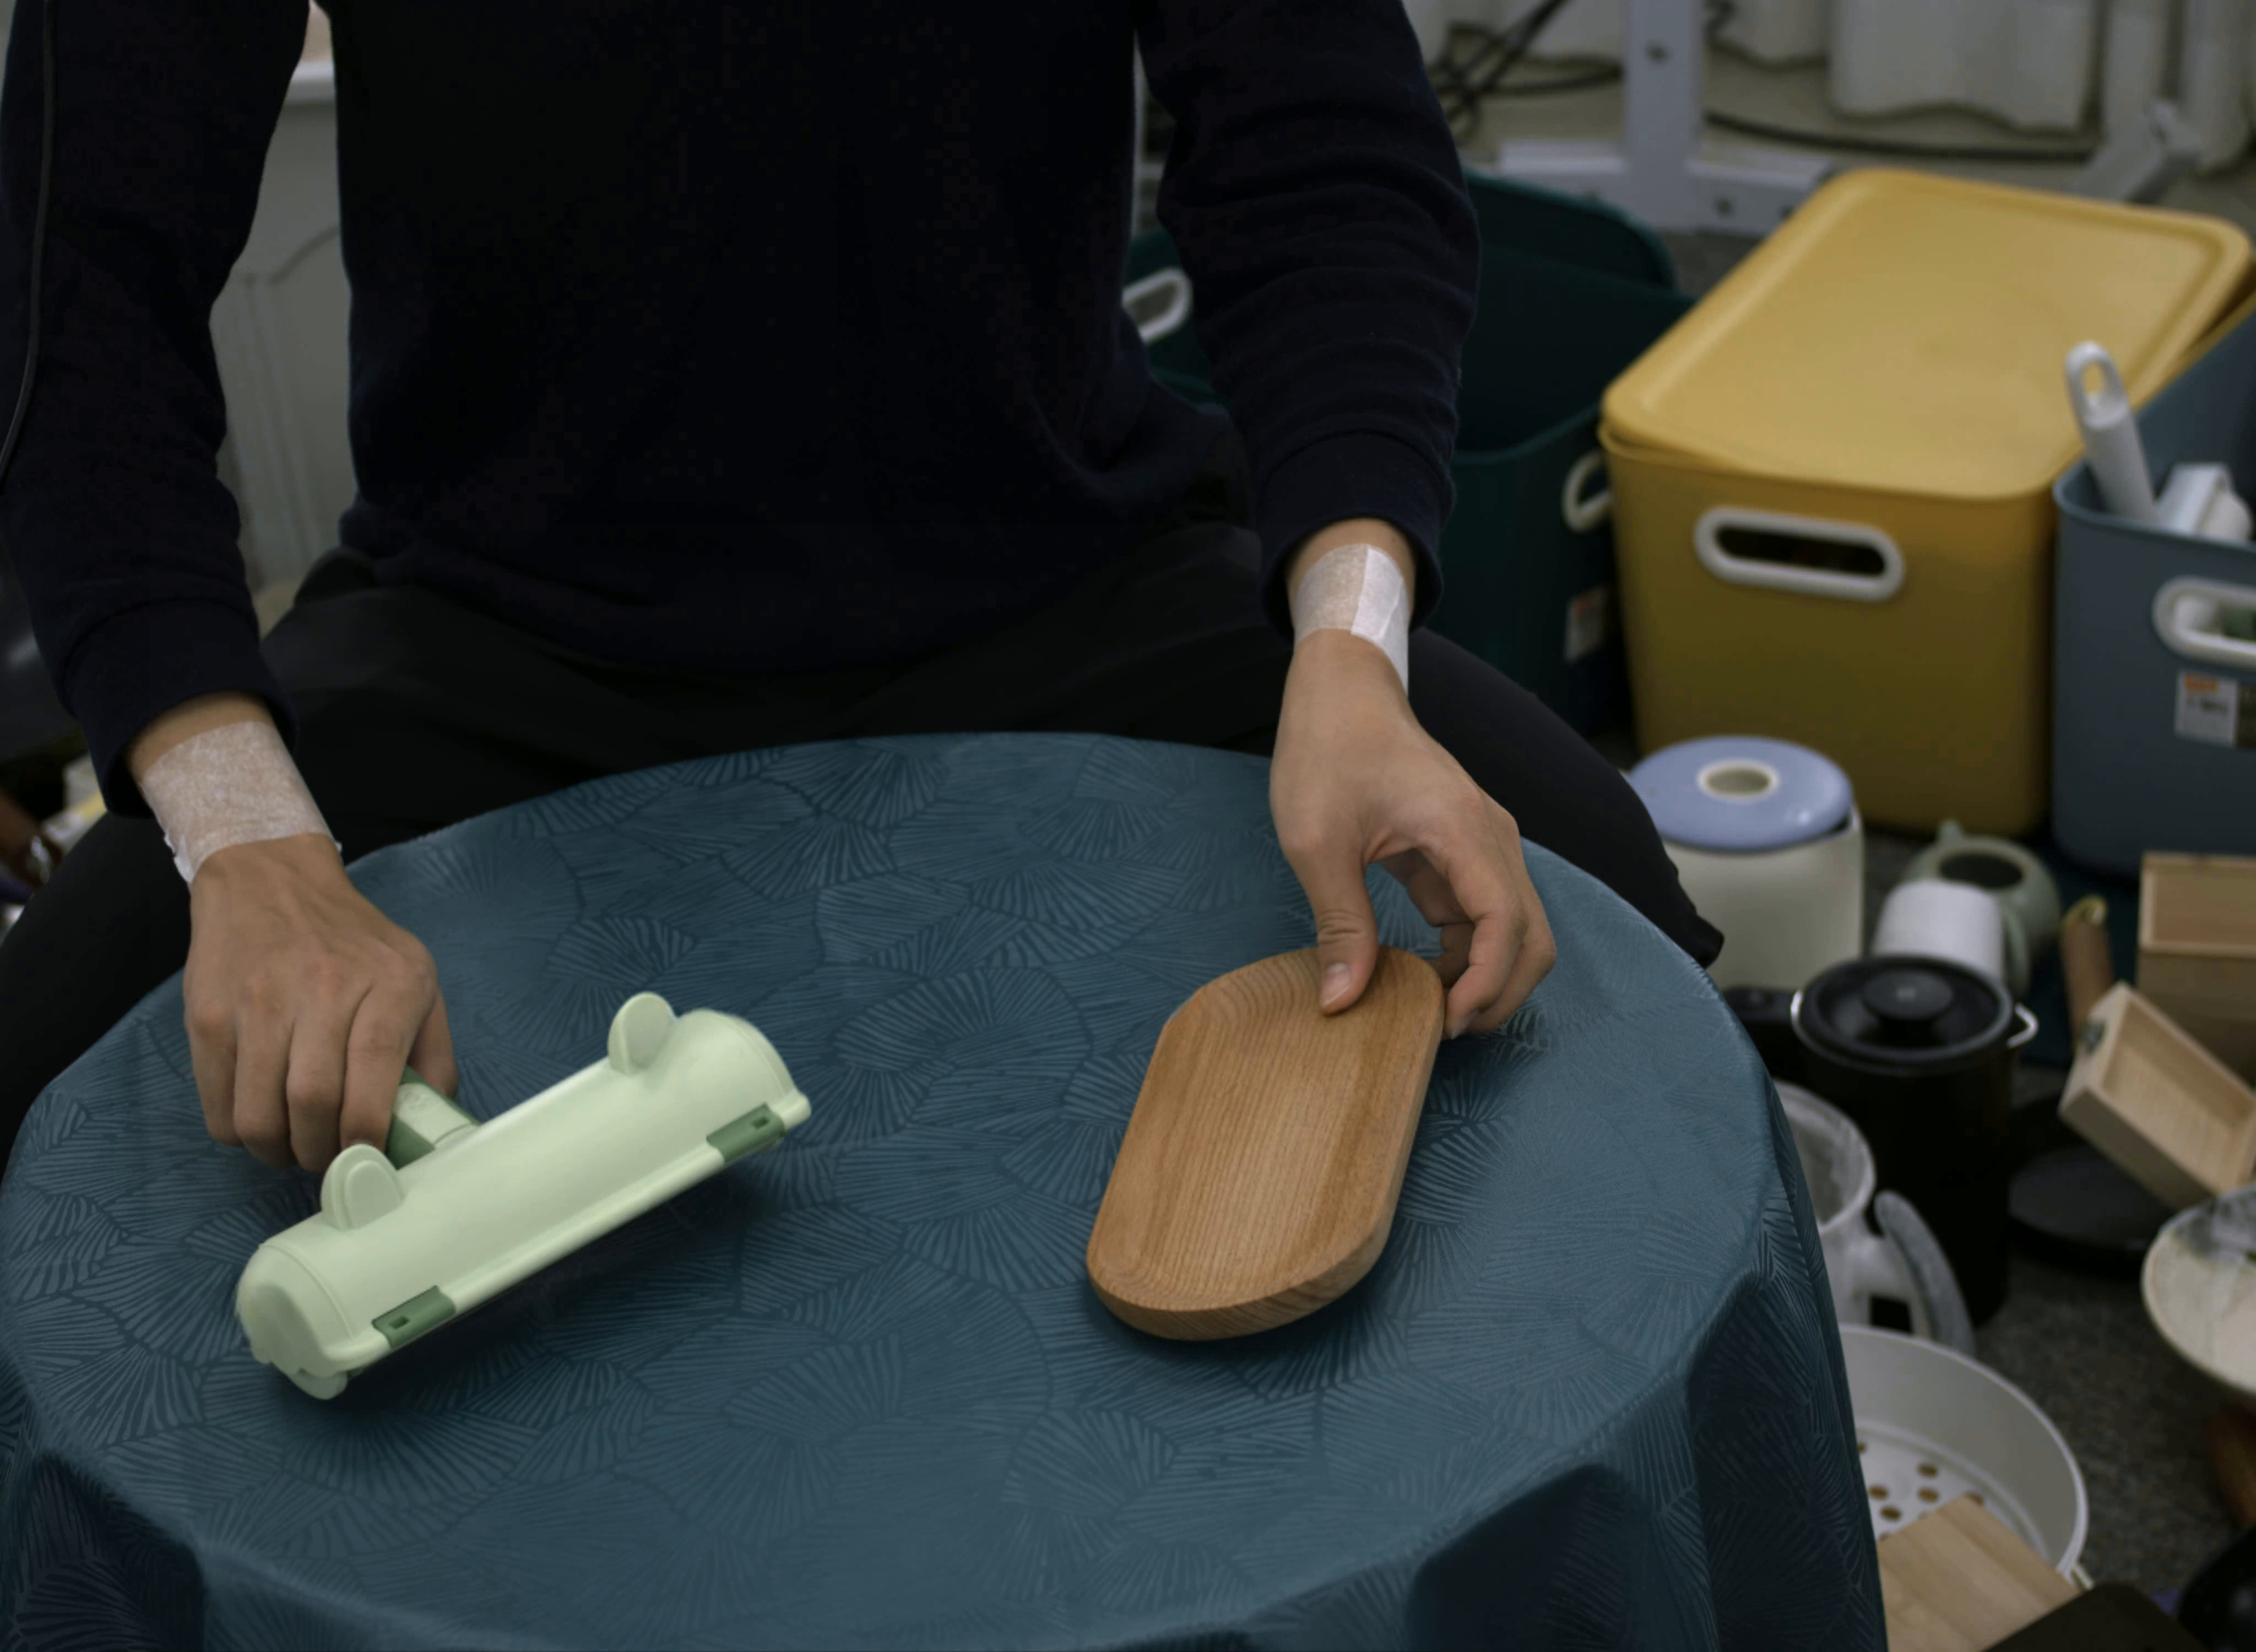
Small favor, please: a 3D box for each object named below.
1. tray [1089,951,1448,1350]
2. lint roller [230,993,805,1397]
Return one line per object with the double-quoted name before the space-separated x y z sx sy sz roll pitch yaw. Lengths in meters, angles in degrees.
"tray" 0.049 0.105 1.857 0.101 0.020 0.235 -8 27 15
"lint roller" -0.234 0.088 1.837 0.201 0.081 0.184 -27 49 -36
